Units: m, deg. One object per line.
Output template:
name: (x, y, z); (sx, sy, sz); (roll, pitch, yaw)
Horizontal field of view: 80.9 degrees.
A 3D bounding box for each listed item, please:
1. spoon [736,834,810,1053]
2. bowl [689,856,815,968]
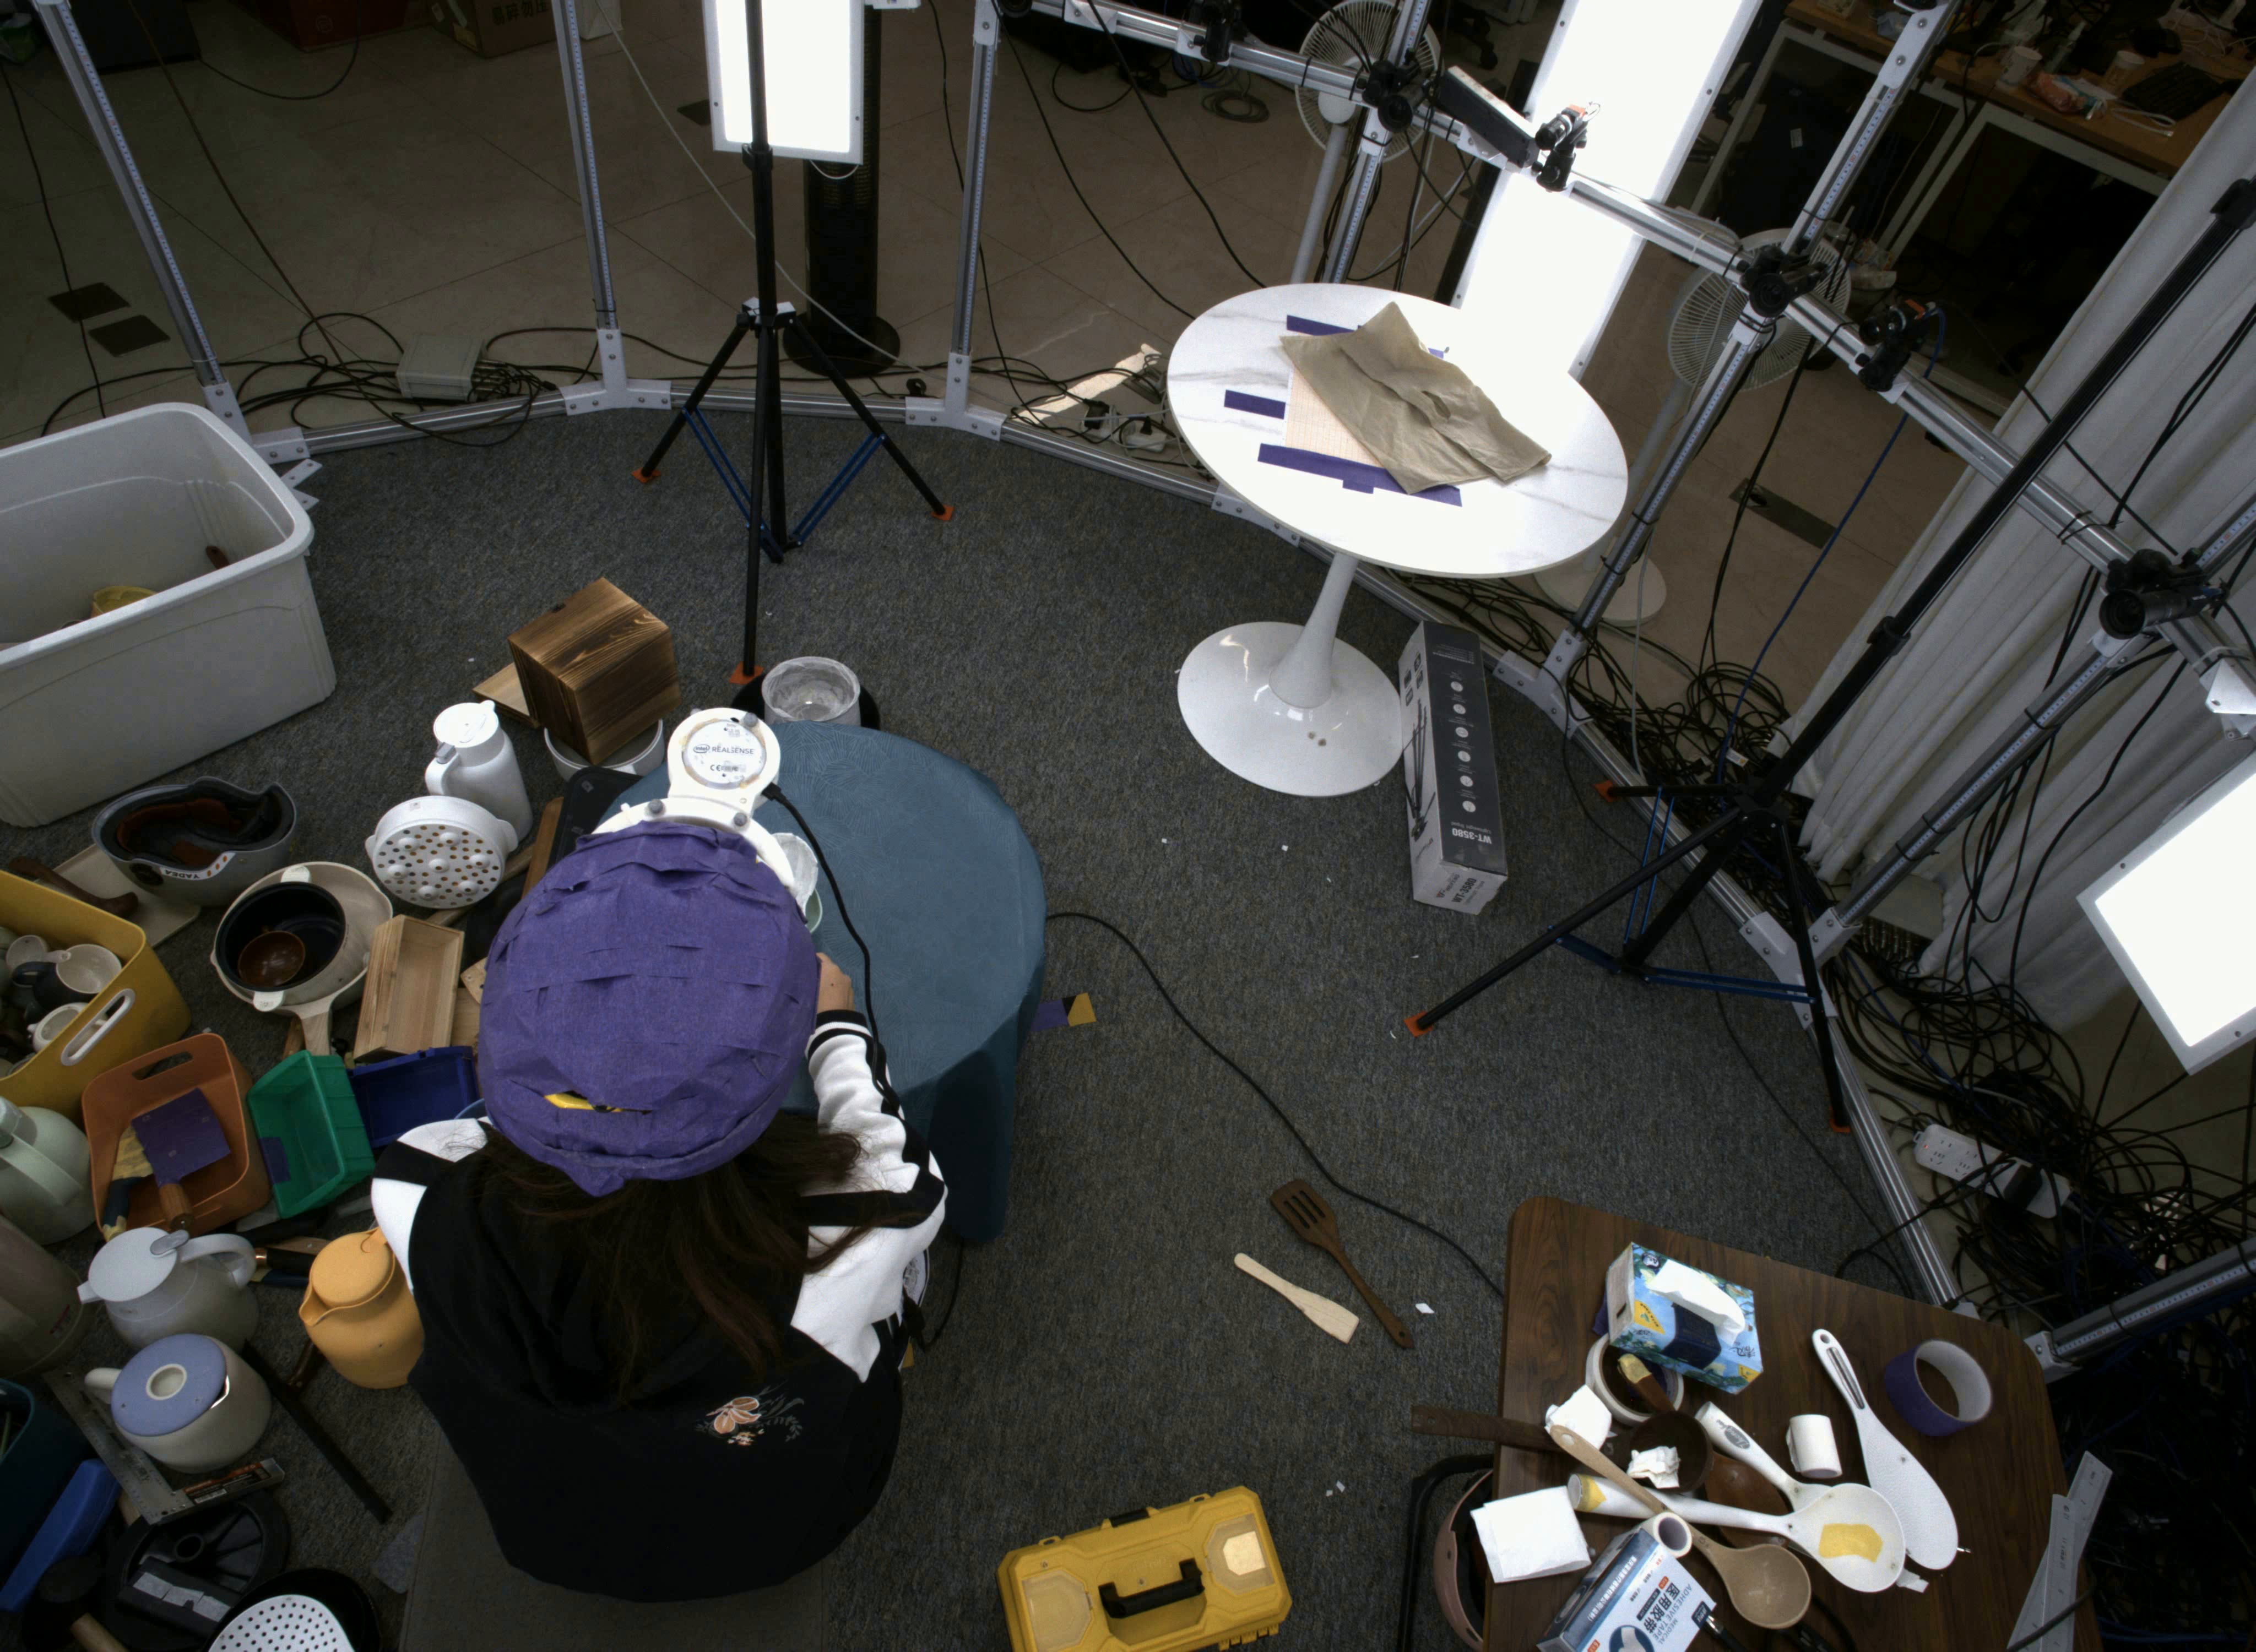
spoon: (-0.414, 0.135, 1.524); (0.099, 0.061, 0.271); (-26, 55, 15)
bowl: (-0.460, 0.113, 1.586); (0.151, 0.059, 0.149); (9, 56, -11)
